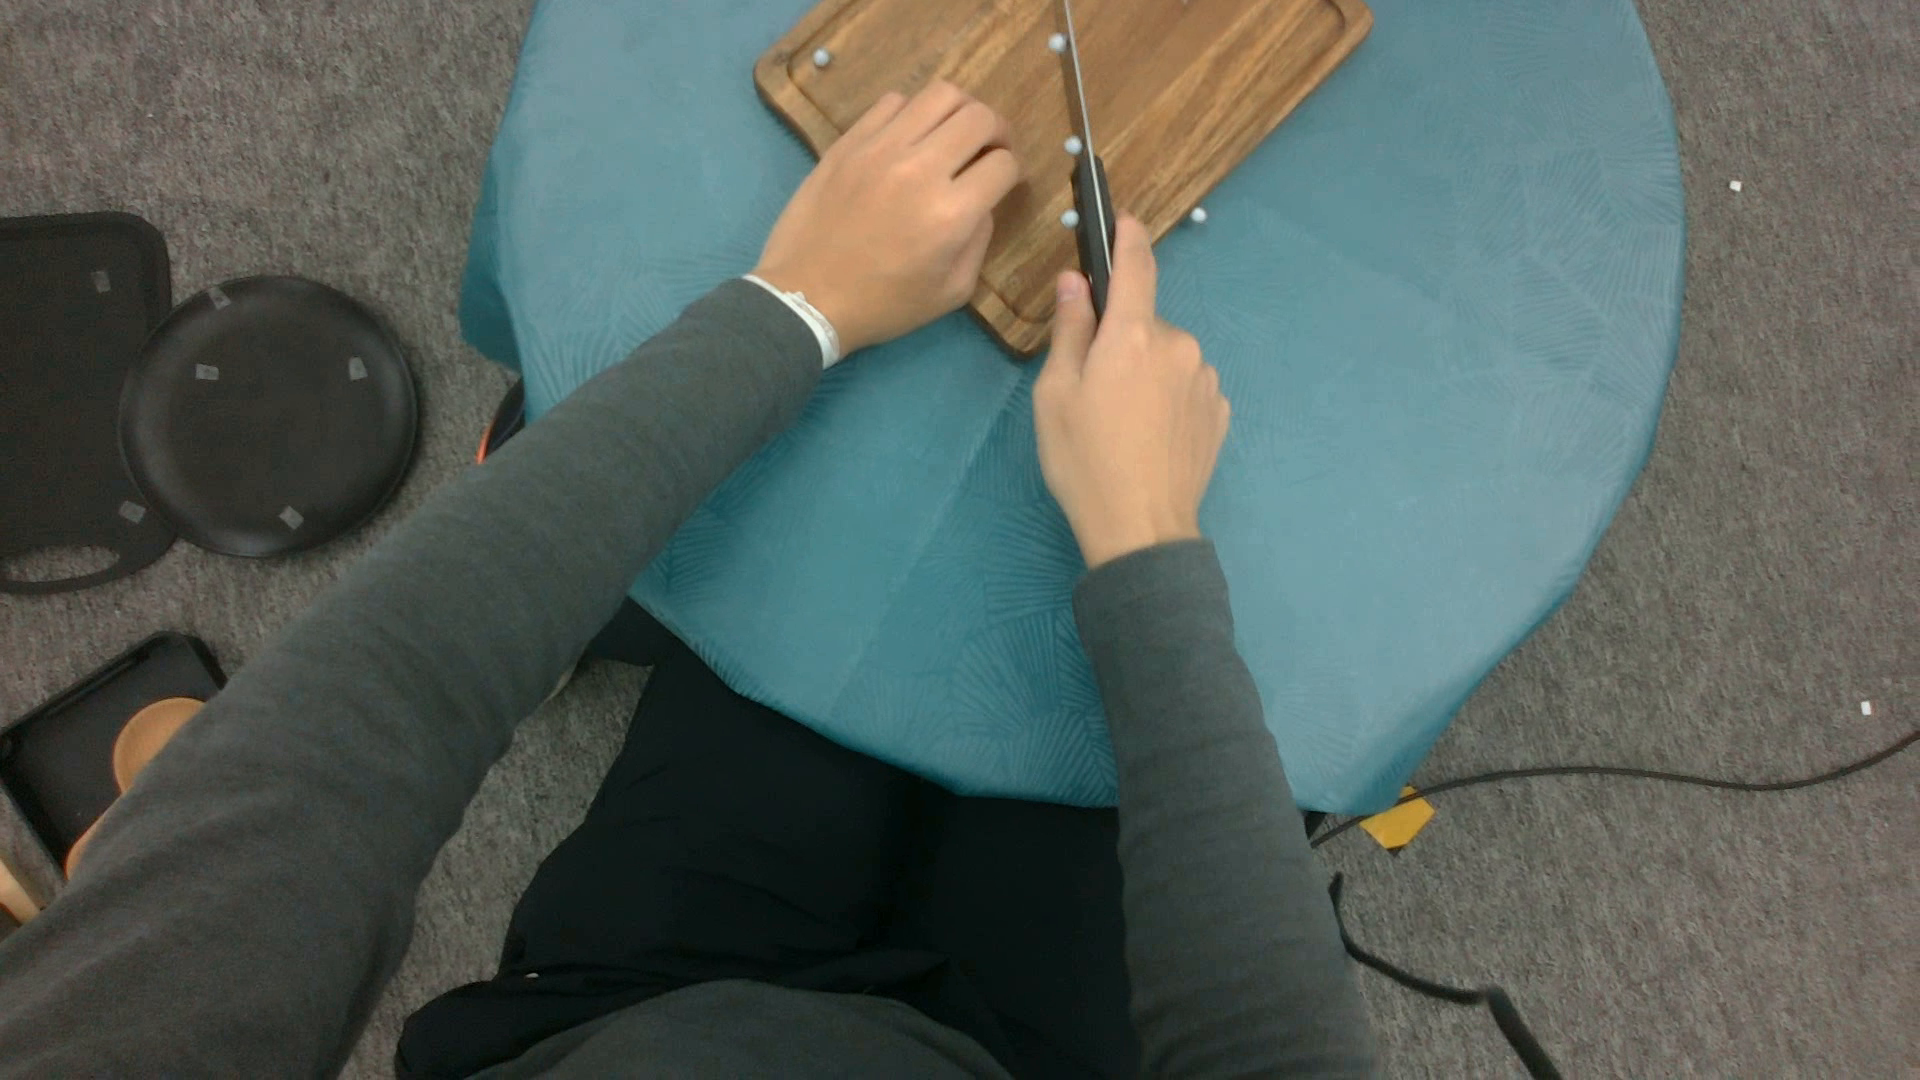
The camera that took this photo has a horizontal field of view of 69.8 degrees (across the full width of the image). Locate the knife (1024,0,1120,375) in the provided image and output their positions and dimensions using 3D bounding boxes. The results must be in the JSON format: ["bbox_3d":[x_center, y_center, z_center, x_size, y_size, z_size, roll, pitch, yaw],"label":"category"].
[{"bbox_3d":[0.045,-0.192,0.630,0.016,0.024,0.238,-9,83,-13],"label":"knife"}]

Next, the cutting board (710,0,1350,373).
[{"bbox_3d":[0.009,-0.213,0.678,0.201,0.023,0.352,45,83,0],"label":"cutting board"}]
